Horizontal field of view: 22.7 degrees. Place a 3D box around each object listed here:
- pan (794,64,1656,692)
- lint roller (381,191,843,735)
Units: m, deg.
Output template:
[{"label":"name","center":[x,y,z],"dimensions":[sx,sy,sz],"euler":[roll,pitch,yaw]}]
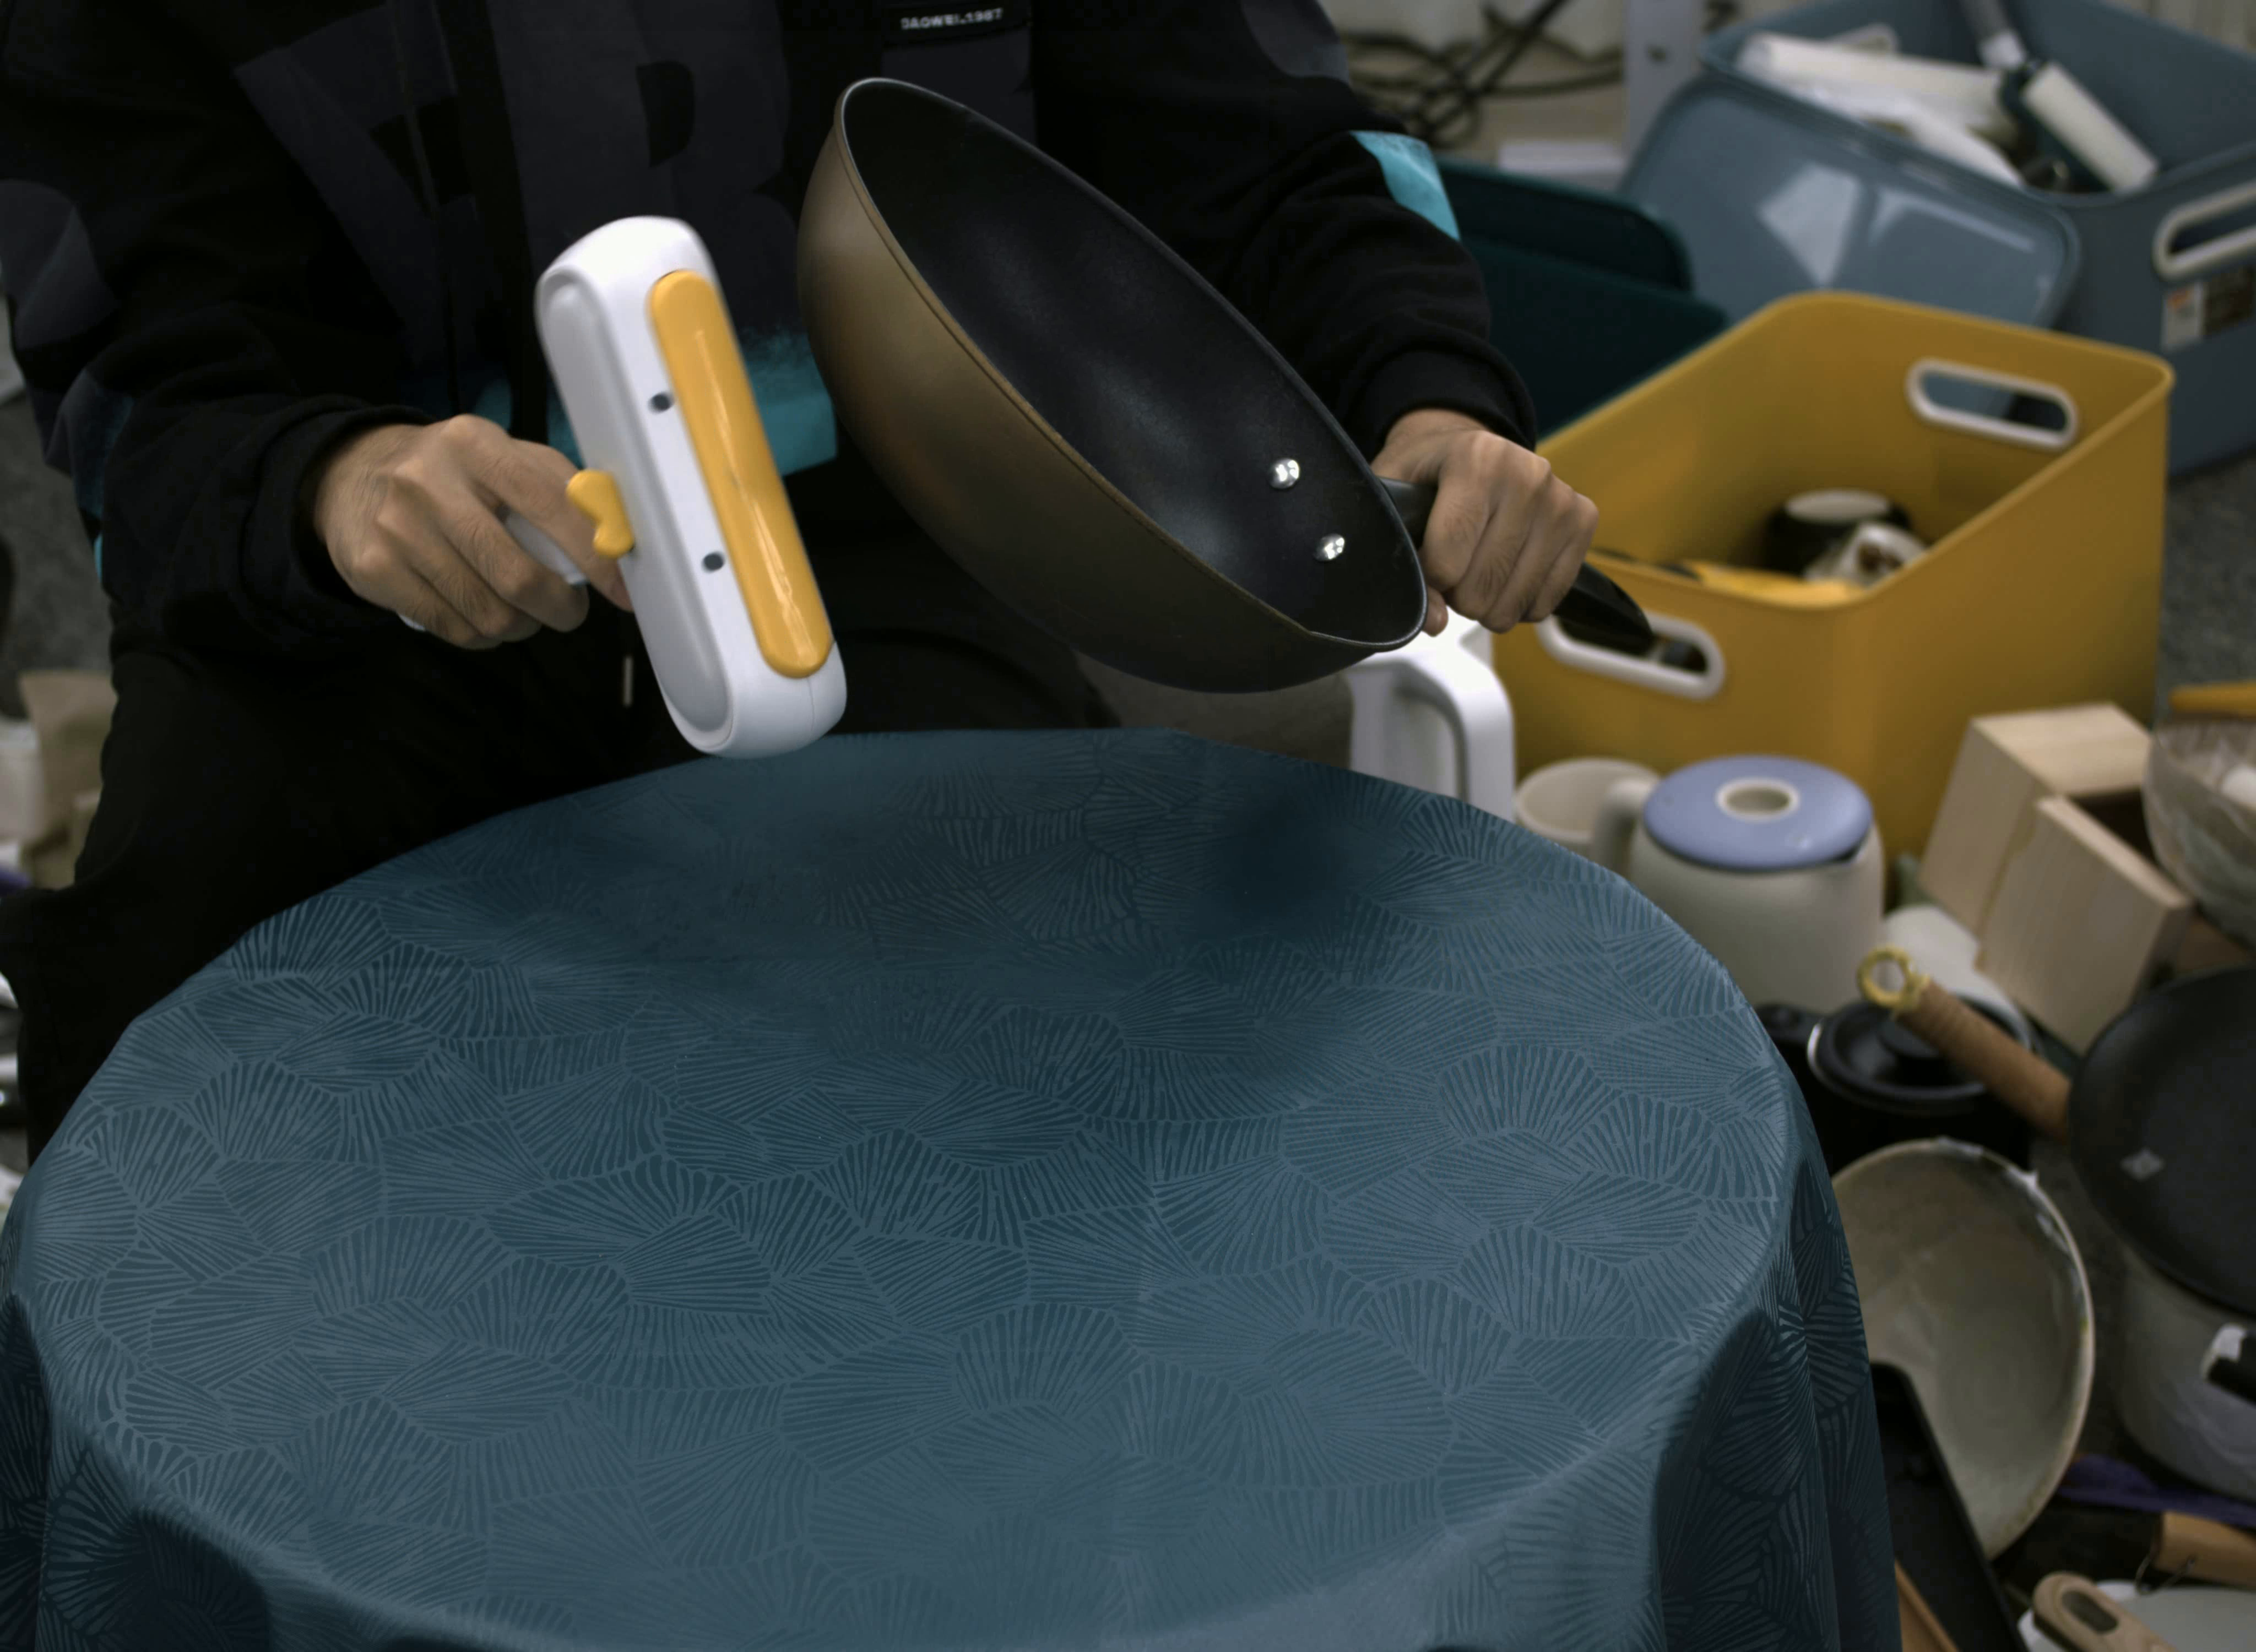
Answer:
[{"label":"pan","center":[0.034,-0.119,2.075],"dimensions":[0.462,0.086,0.292],"euler":[24,28,-47]},{"label":"lint roller","center":[-0.193,-0.109,1.992],"dimensions":[0.075,0.193,0.189],"euler":[-23,1,-41]}]
